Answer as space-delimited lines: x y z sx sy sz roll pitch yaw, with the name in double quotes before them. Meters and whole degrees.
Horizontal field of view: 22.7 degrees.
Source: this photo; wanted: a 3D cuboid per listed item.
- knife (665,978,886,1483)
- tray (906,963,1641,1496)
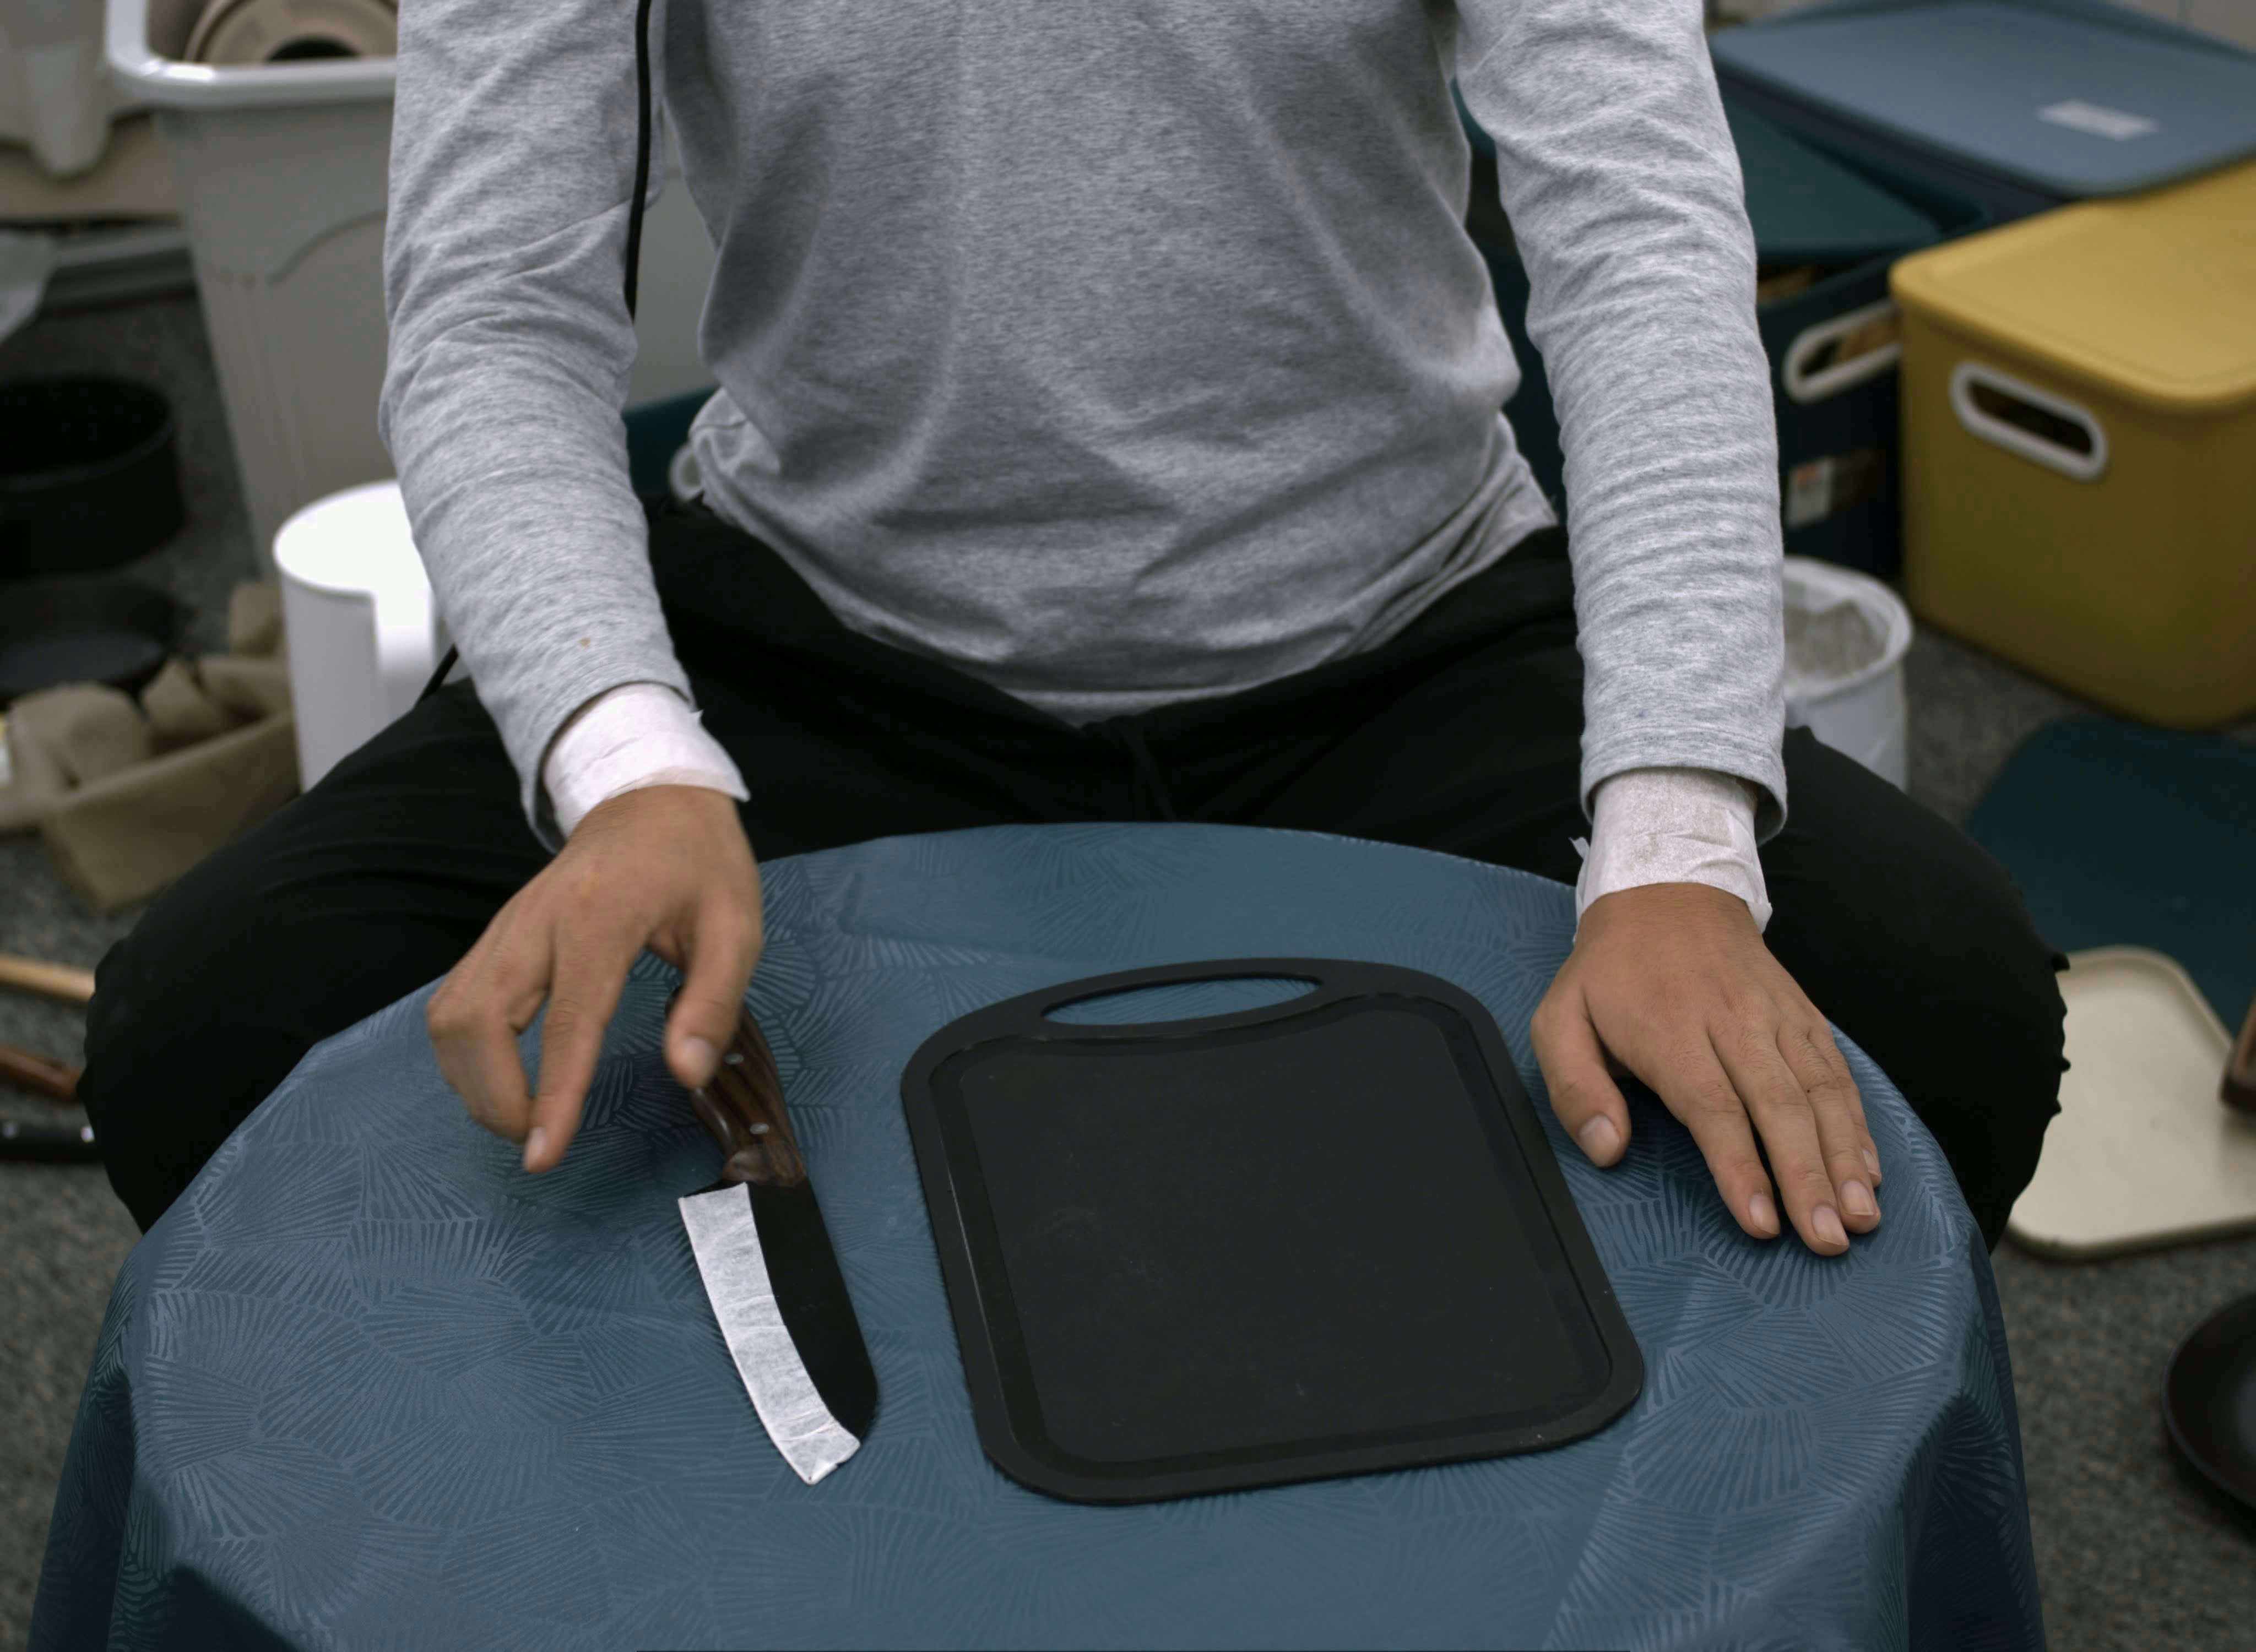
"knife" -0.120 0.131 1.840 0.050 0.020 0.293 -11 31 -6
"tray" 0.040 0.123 1.849 0.210 0.009 0.329 -6 27 -6
